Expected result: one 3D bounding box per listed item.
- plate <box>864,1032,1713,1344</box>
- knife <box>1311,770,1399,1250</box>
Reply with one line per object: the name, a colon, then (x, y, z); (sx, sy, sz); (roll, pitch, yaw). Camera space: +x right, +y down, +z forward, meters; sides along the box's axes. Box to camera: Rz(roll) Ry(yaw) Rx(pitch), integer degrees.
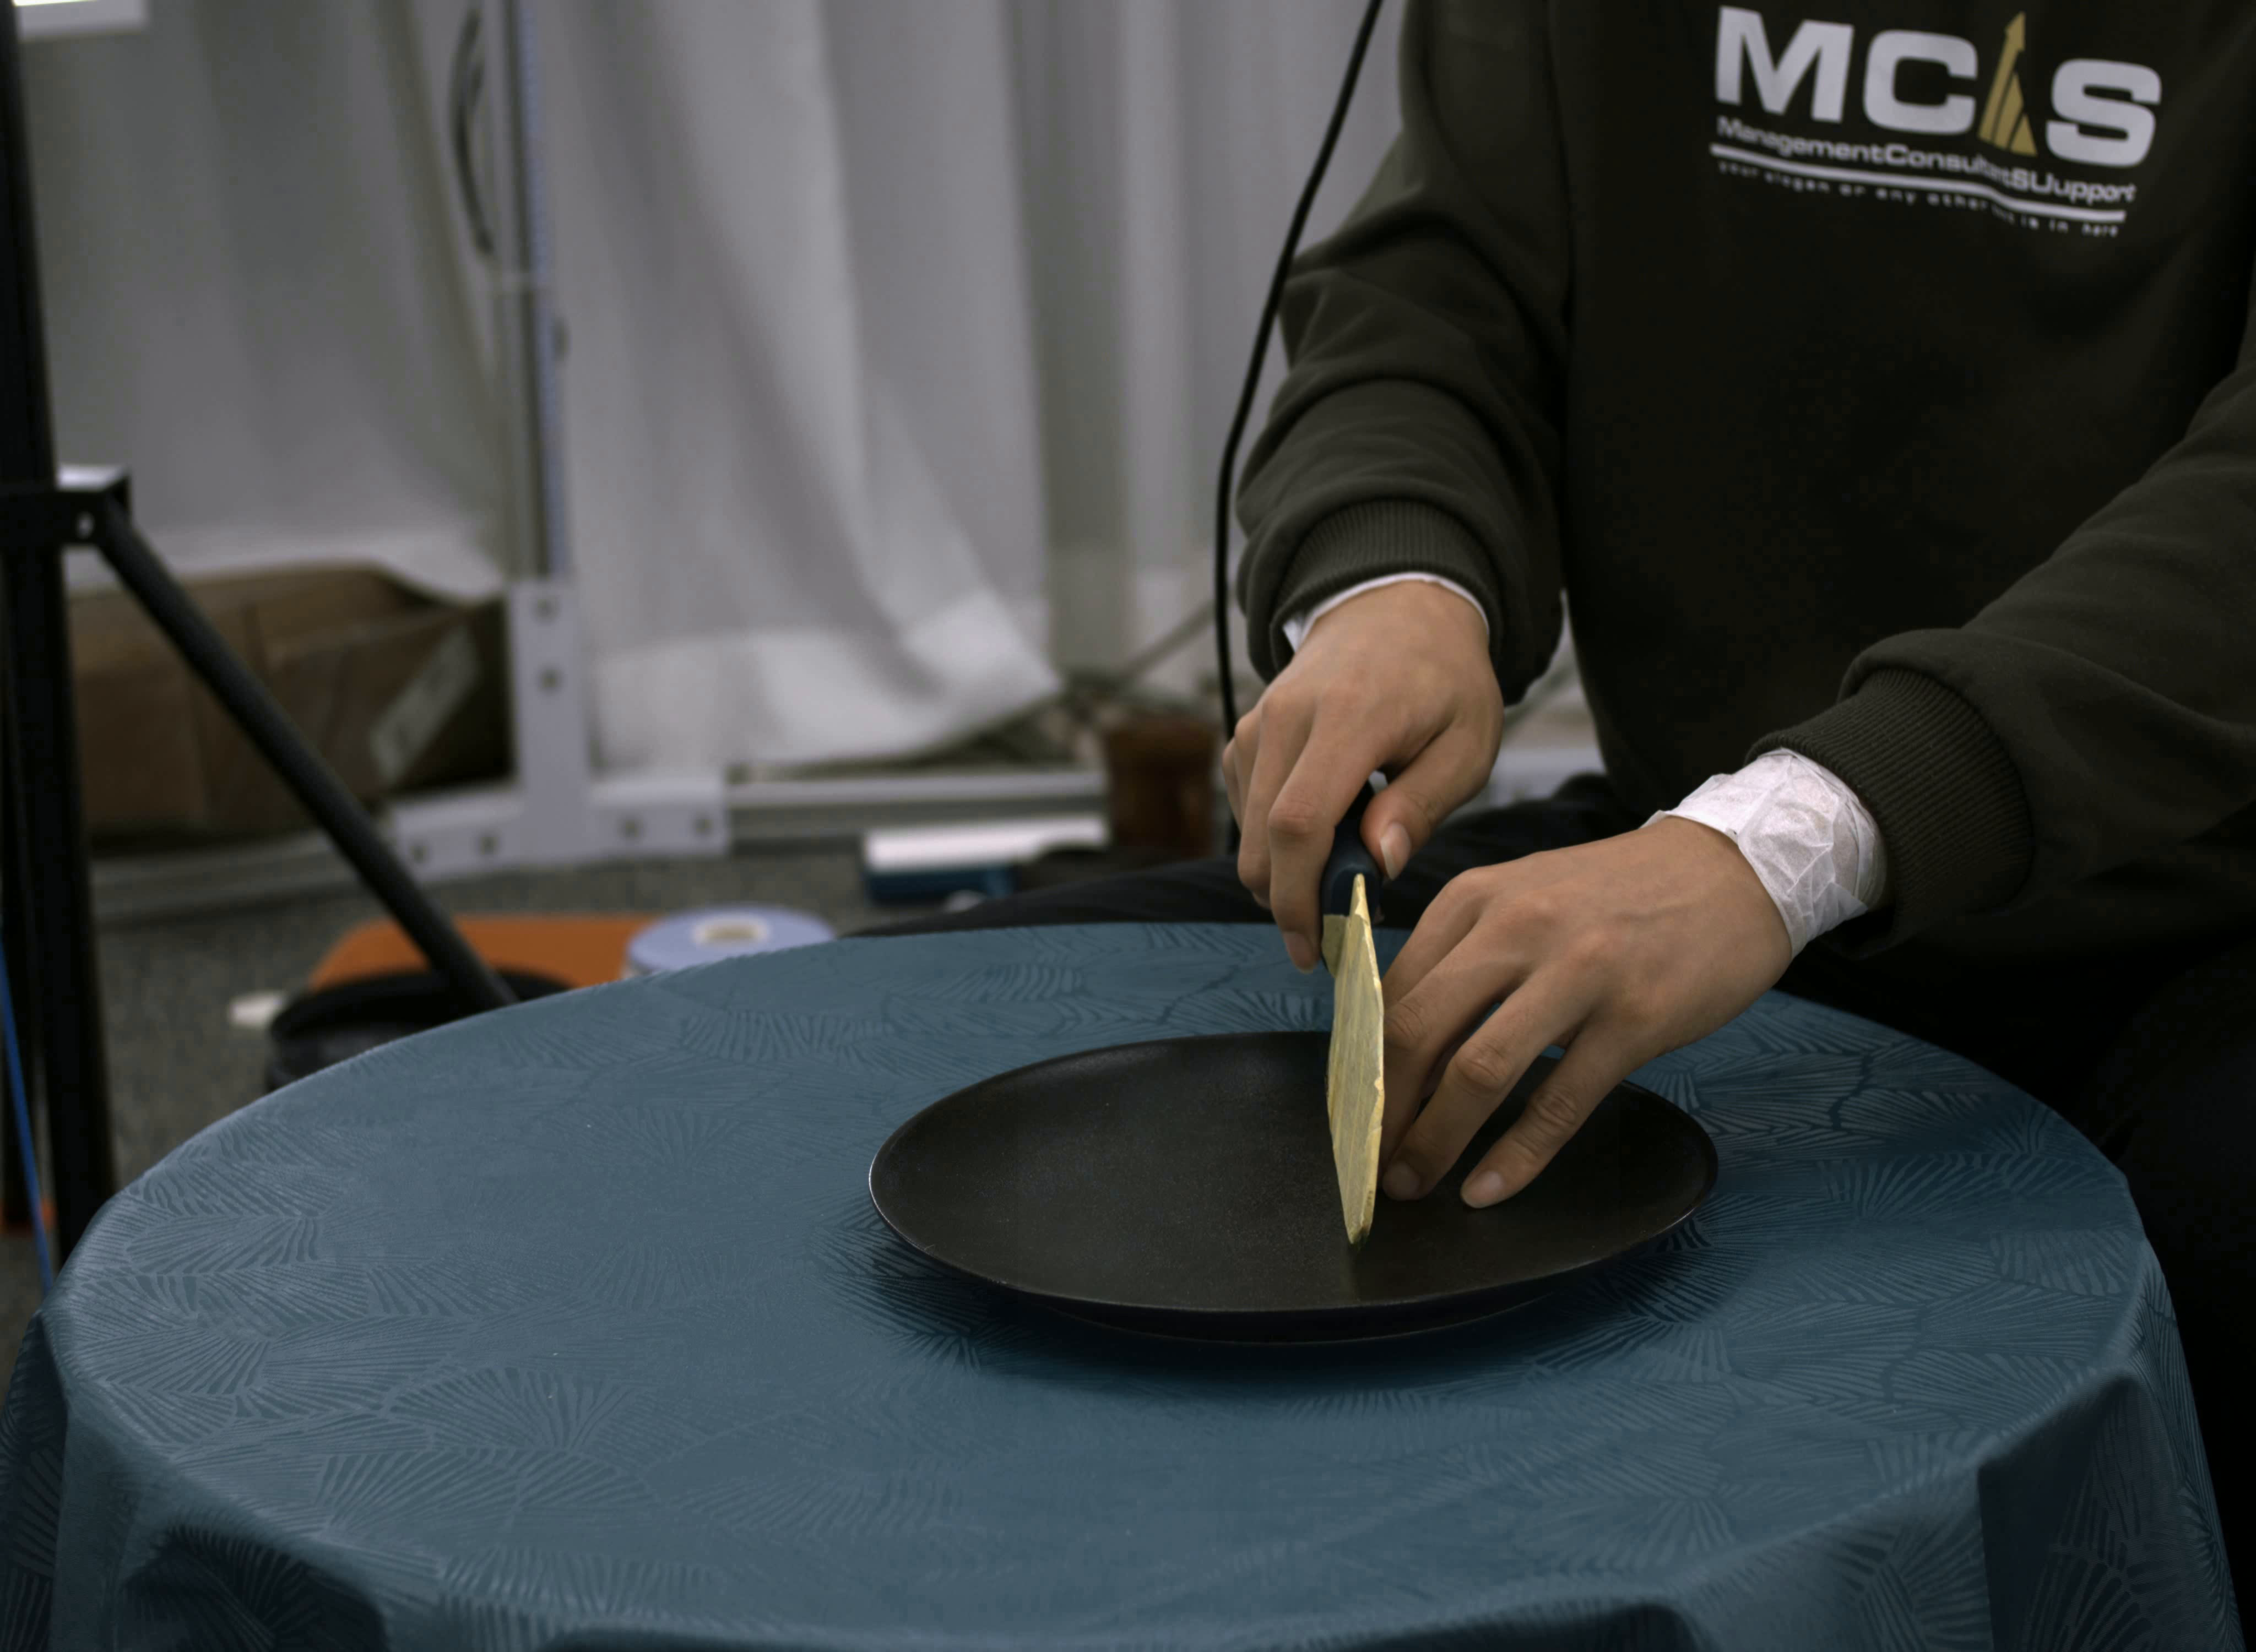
plate: (0.046, 0.106, 1.519); (0.243, 0.023, 0.245); (-3, 16, -1)
knife: (0.066, 0.049, 1.574); (0.027, 0.081, 0.291); (9, 21, -2)
